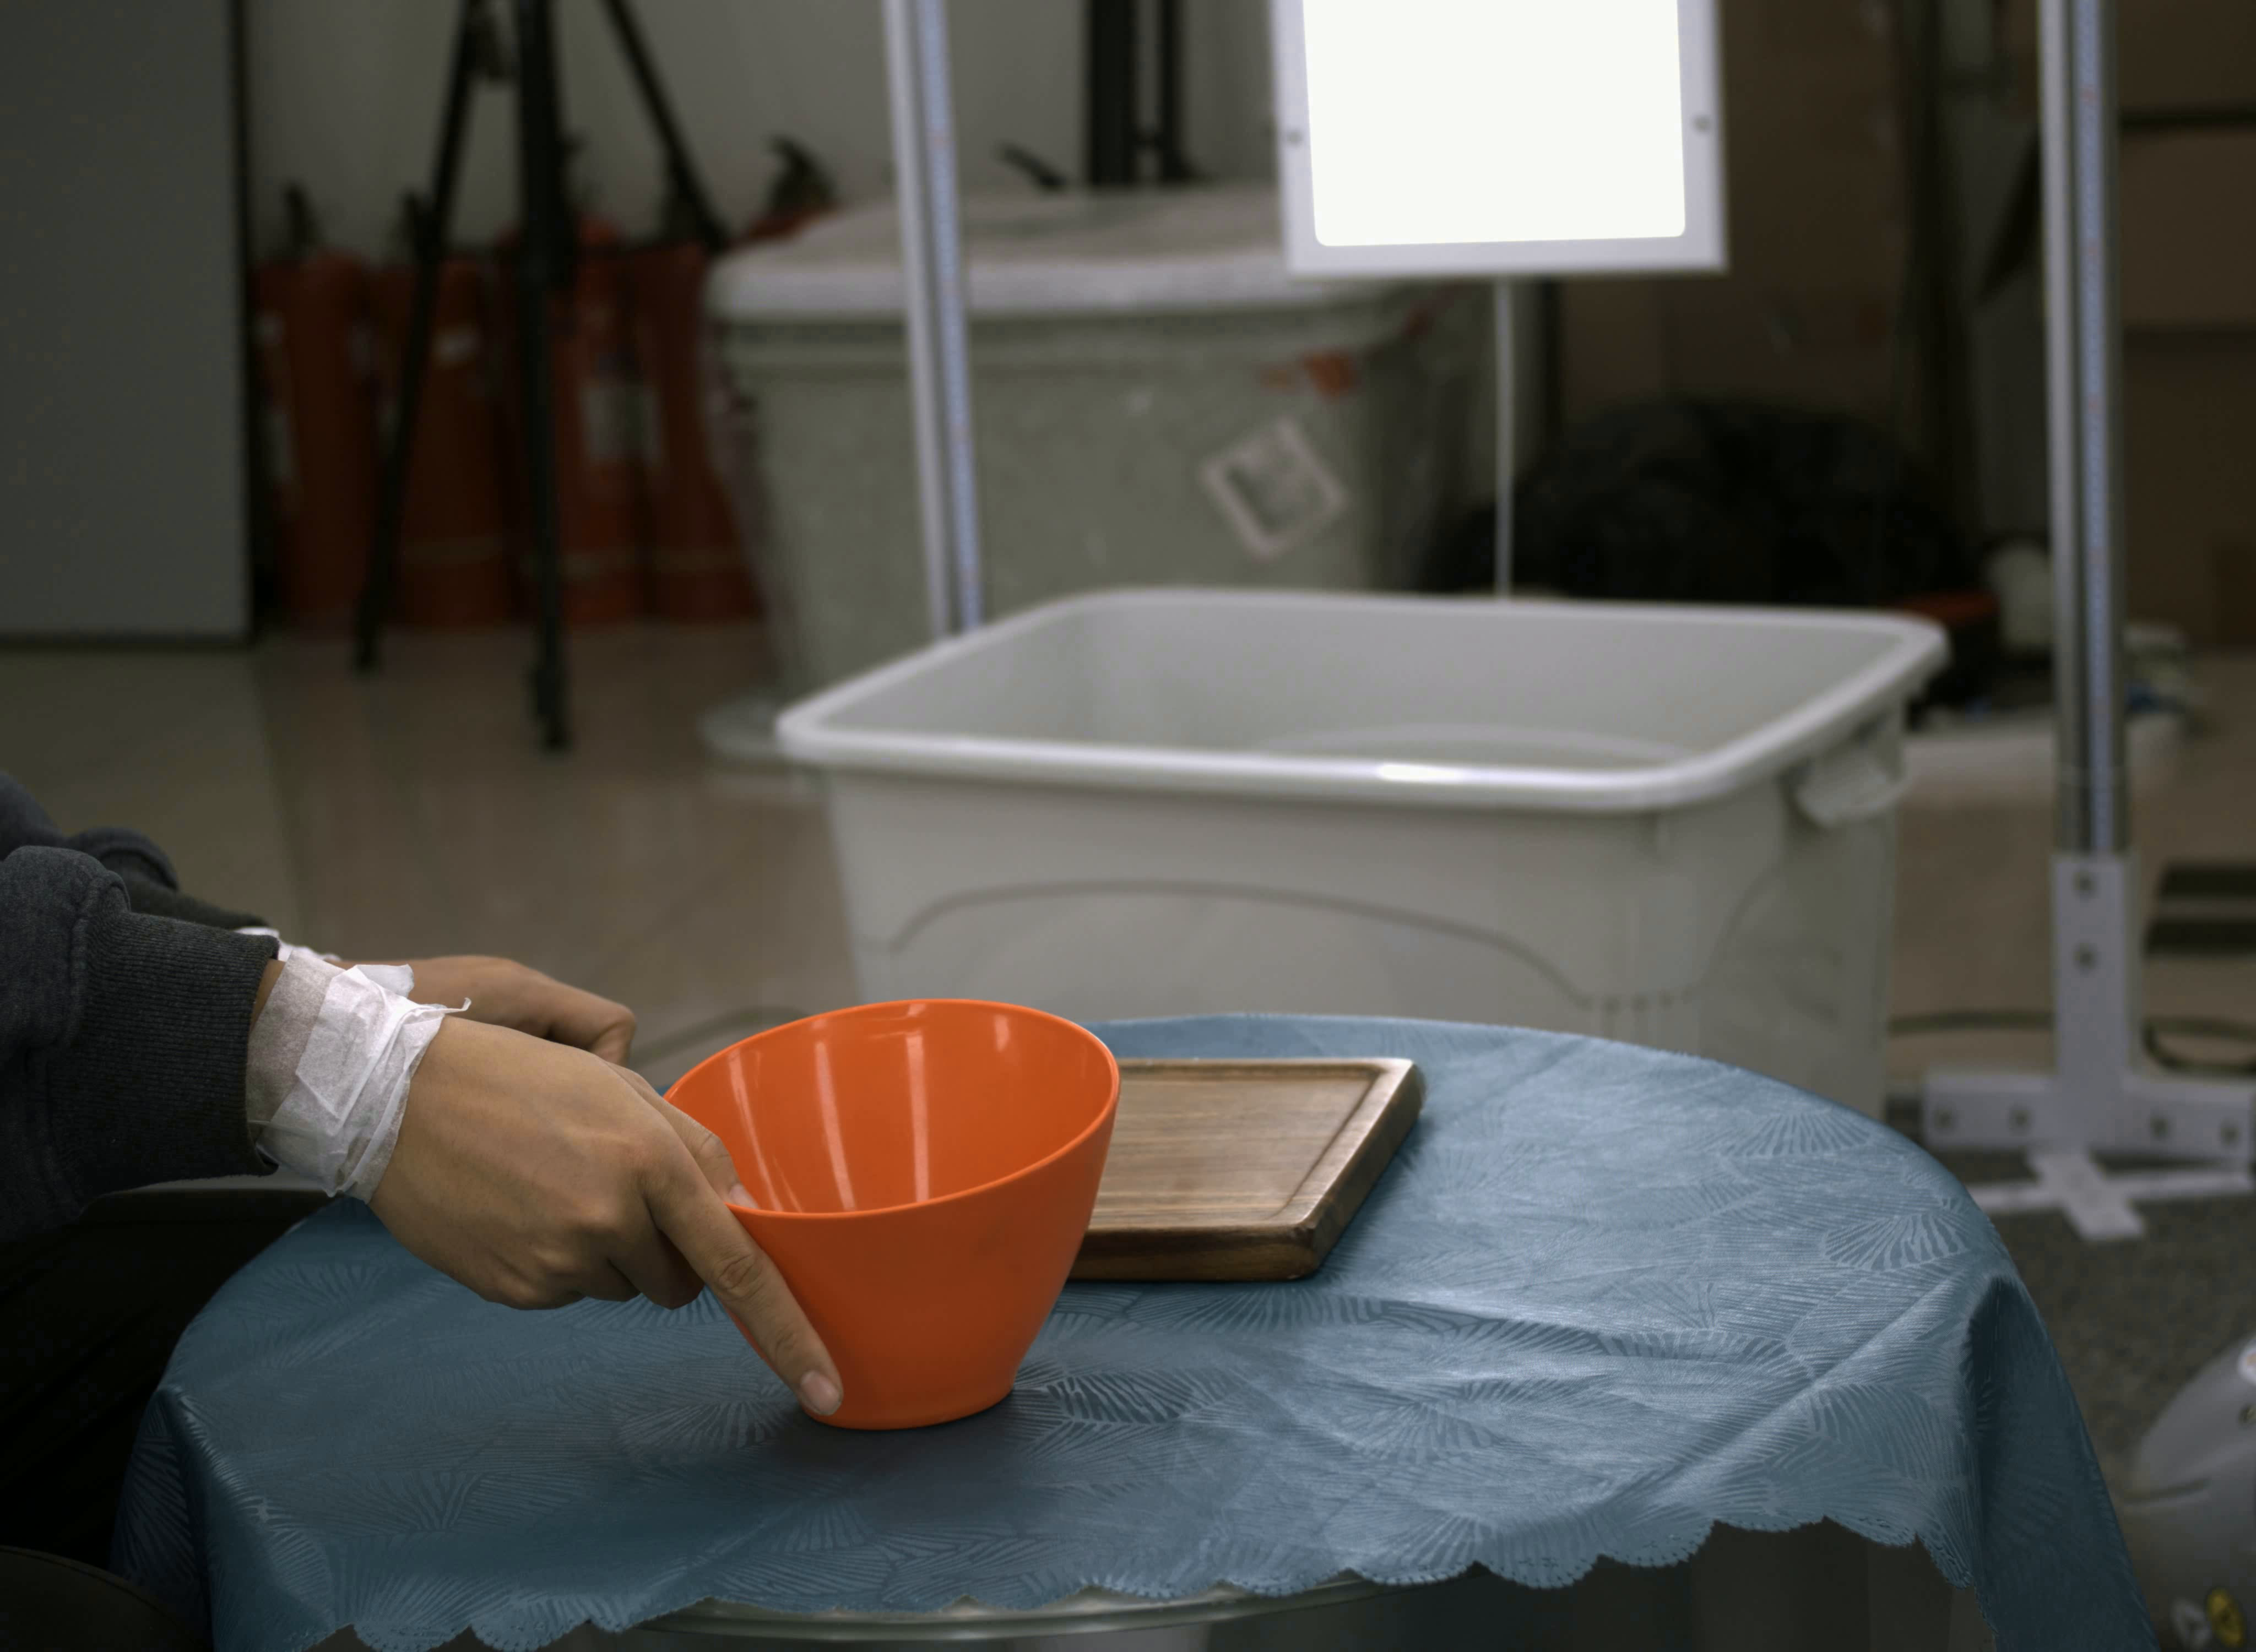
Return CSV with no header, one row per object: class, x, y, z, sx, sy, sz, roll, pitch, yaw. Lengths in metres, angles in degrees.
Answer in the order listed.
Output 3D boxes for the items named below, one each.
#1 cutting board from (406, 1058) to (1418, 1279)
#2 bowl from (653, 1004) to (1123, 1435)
cutting board,-0.085,0.117,1.923,0.356,0.023,0.198,-1,14,17
bowl,-0.070,0.126,1.713,0.148,0.105,0.148,-7,13,0
